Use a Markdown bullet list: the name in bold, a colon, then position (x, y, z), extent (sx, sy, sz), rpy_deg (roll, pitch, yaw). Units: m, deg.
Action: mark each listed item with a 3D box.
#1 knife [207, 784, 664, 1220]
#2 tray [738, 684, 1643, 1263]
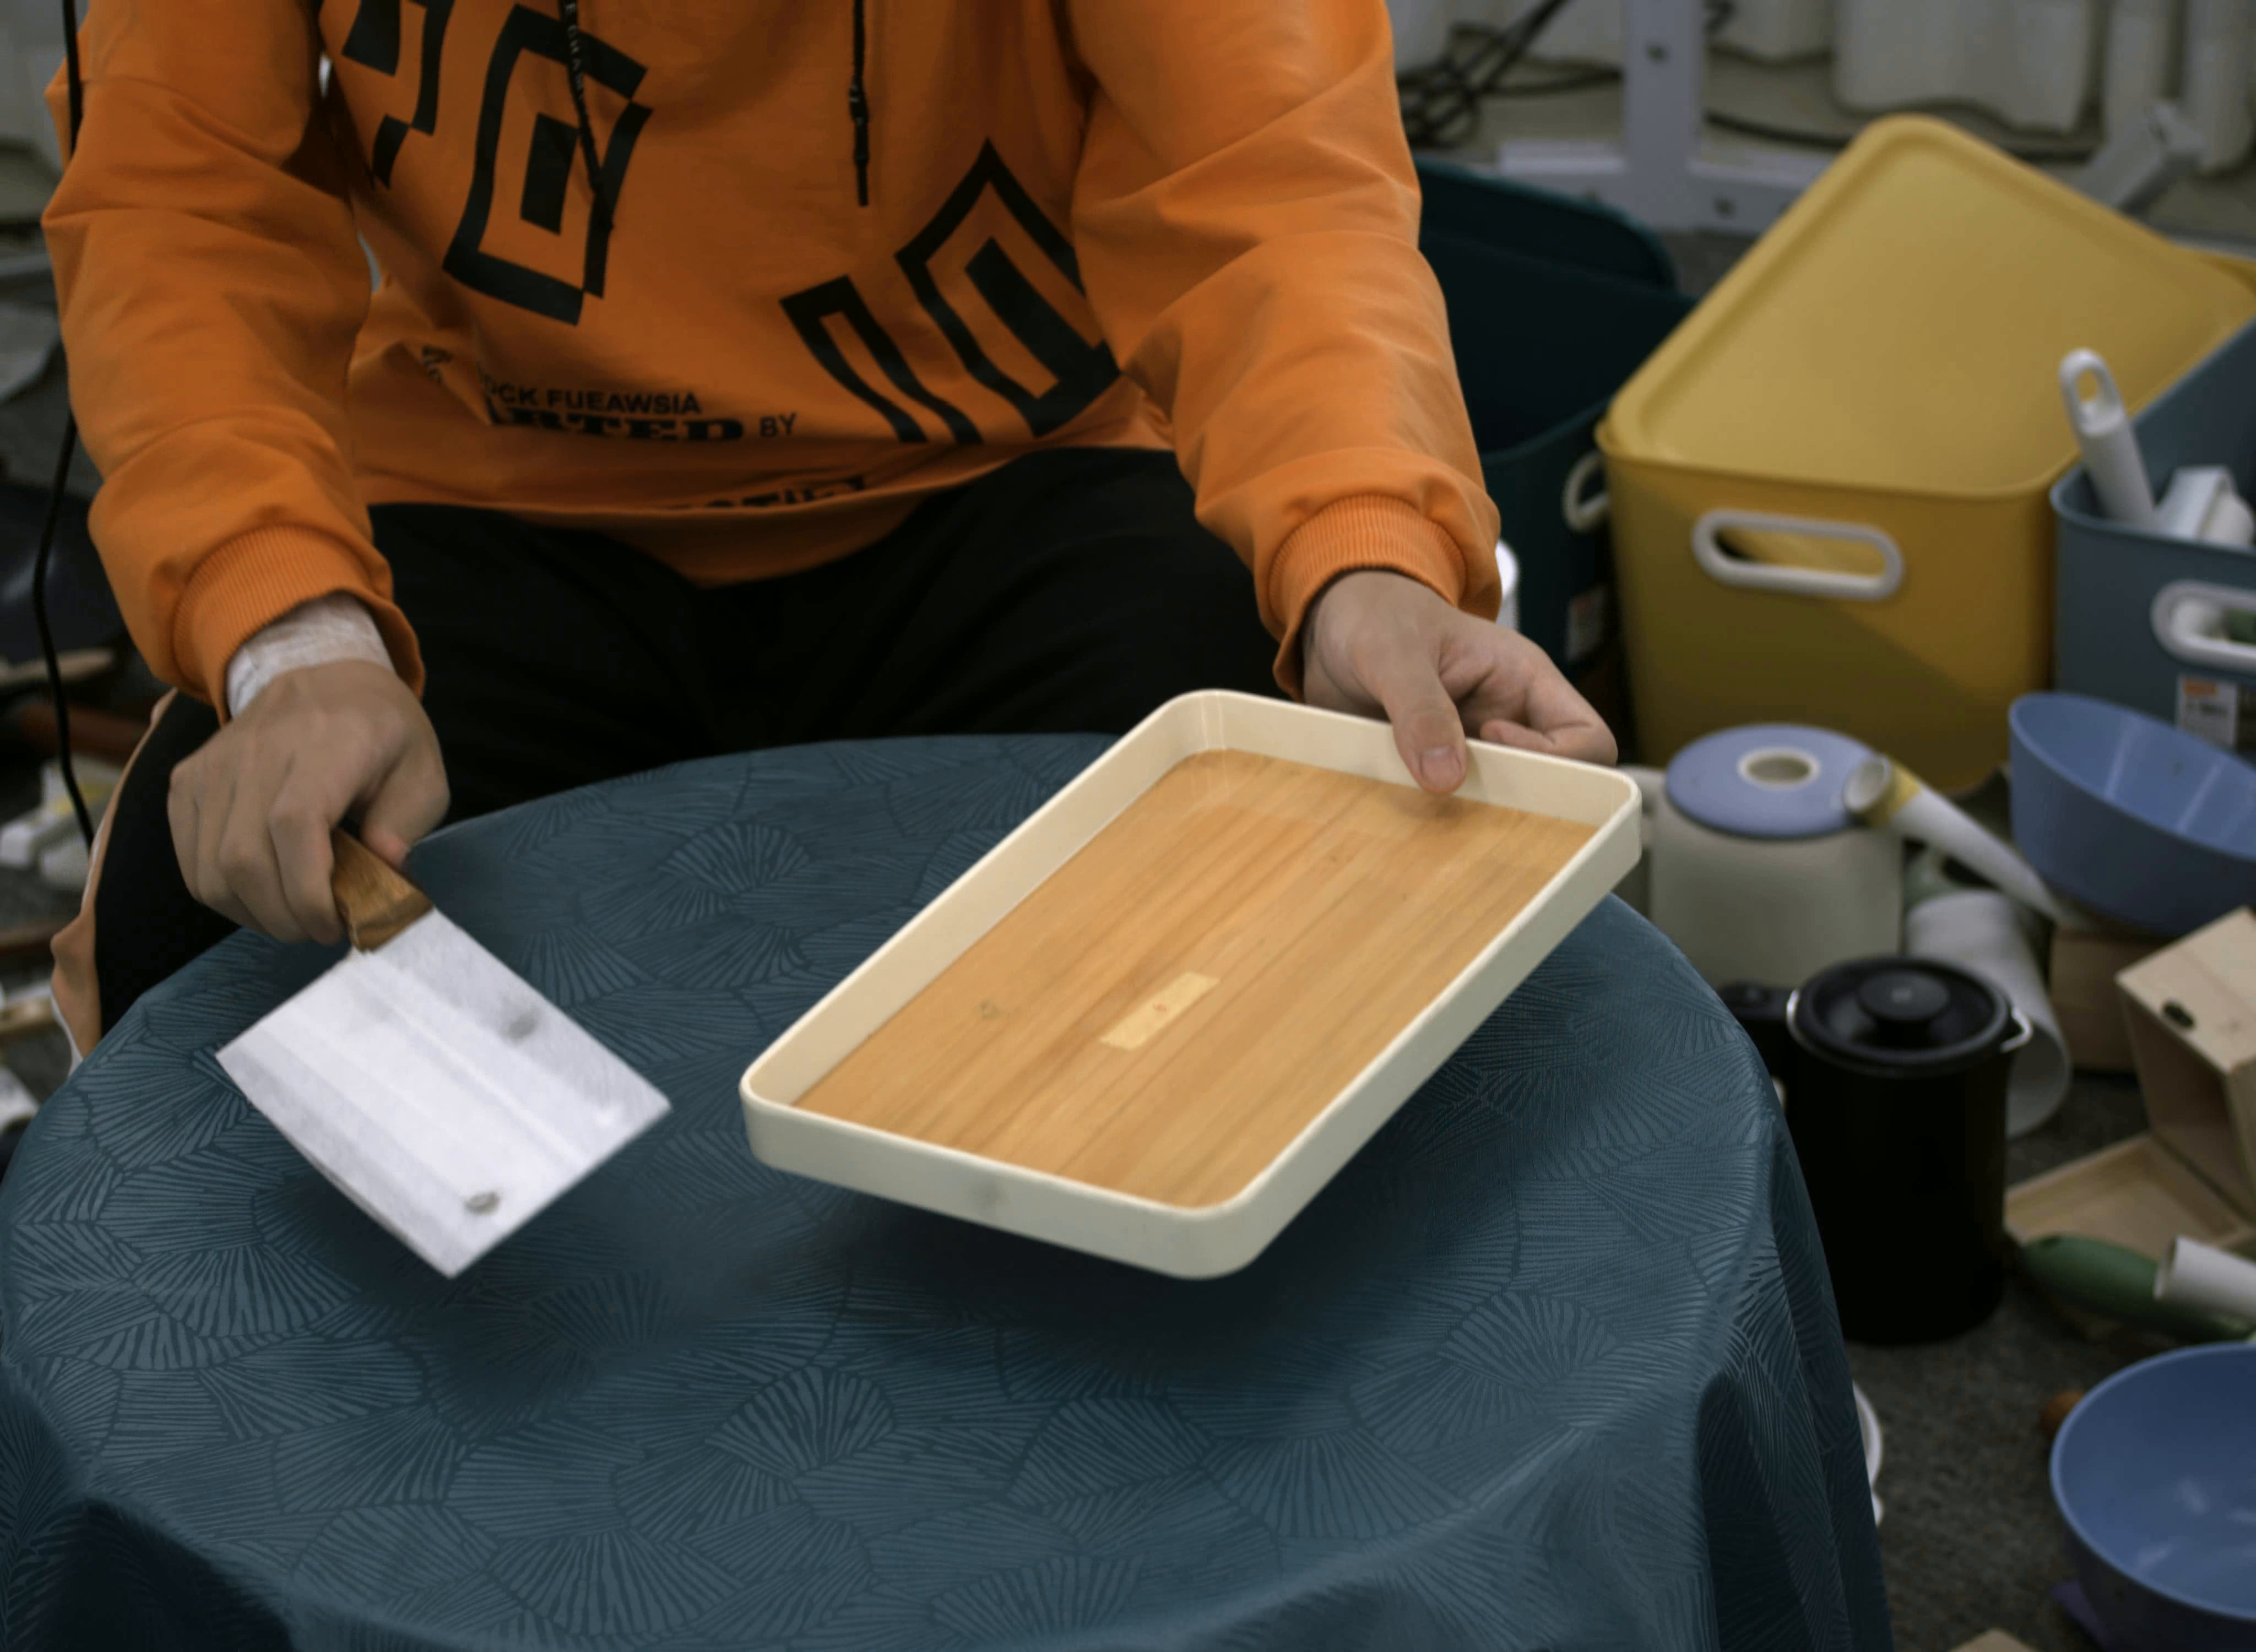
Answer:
- **knife**: position (-0.254, 0.060, 1.867), extent (0.093, 0.021, 0.306), rpy_deg (-38, 34, -15)
- **tray**: position (0.026, 0.043, 1.865), extent (0.190, 0.027, 0.305), rpy_deg (11, 33, 30)
